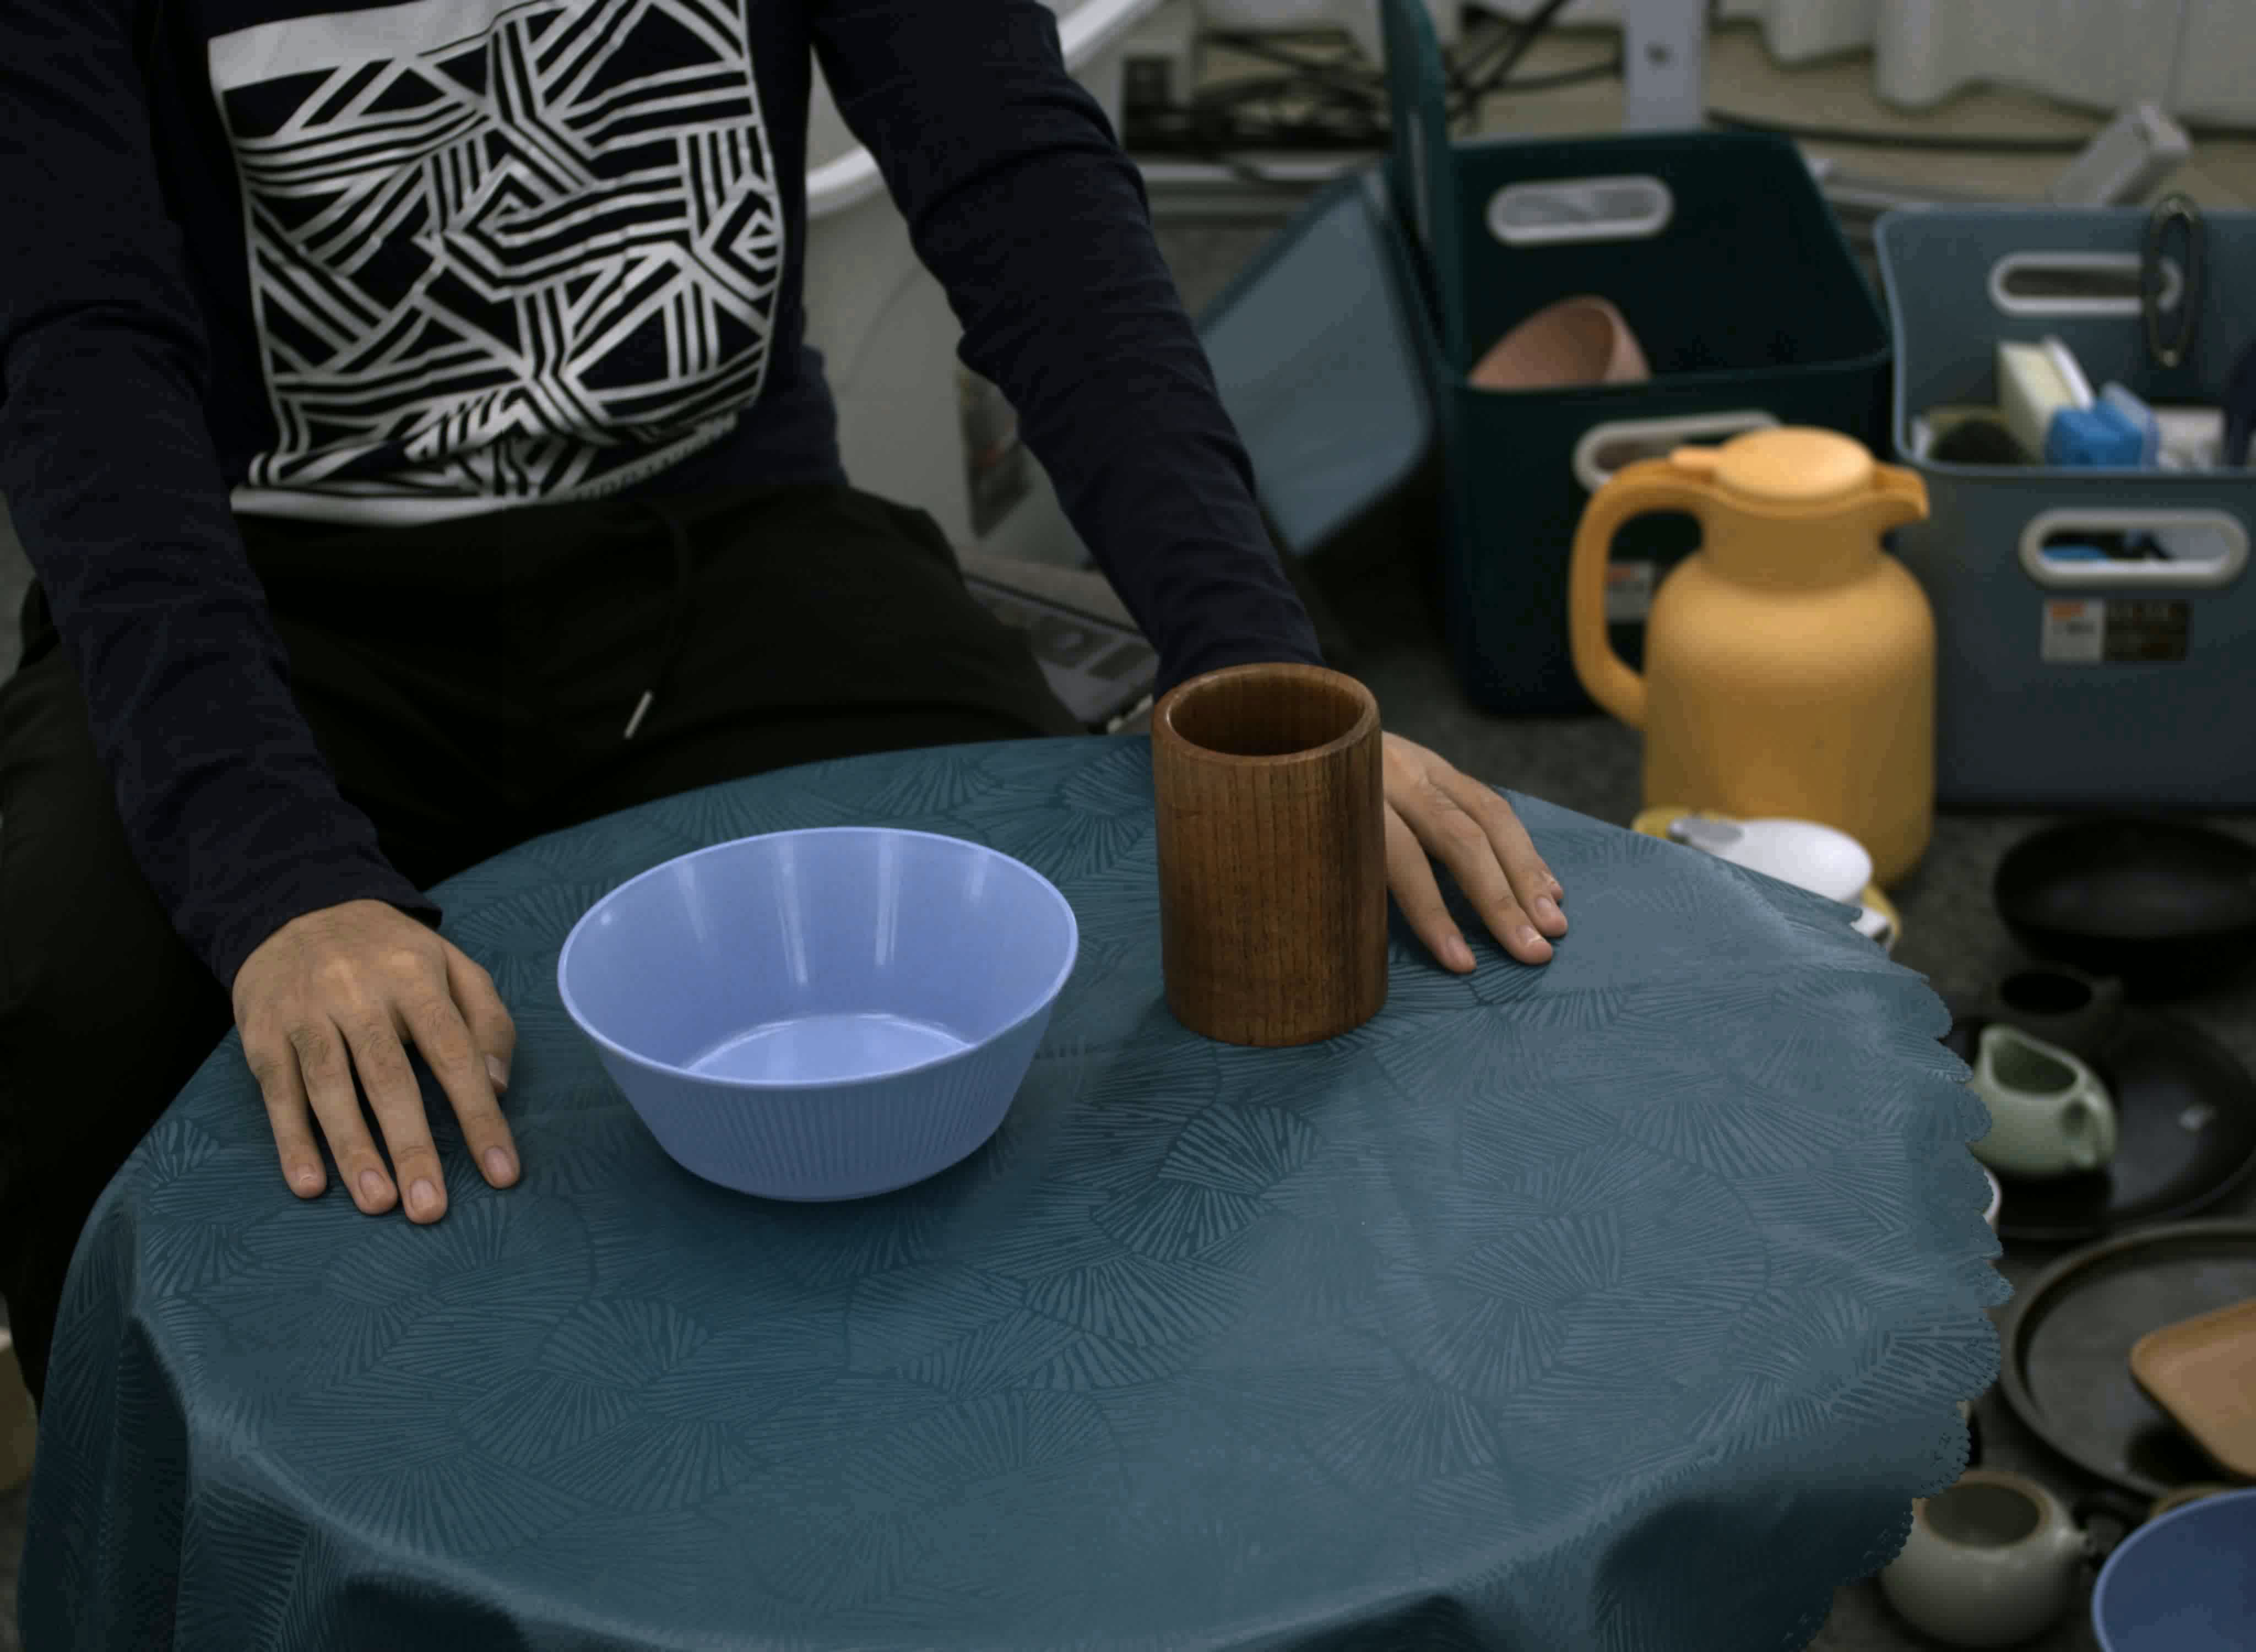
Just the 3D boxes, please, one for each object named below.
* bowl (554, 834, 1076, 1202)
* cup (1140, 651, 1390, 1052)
[{"bbox_3d":[-0.103,0.070,1.893,0.175,0.069,0.179,-2,26,1],"label":"bowl"},{"bbox_3d":[0.049,0.009,1.948,0.087,0.117,0.089,-2,24,1],"label":"cup"}]
